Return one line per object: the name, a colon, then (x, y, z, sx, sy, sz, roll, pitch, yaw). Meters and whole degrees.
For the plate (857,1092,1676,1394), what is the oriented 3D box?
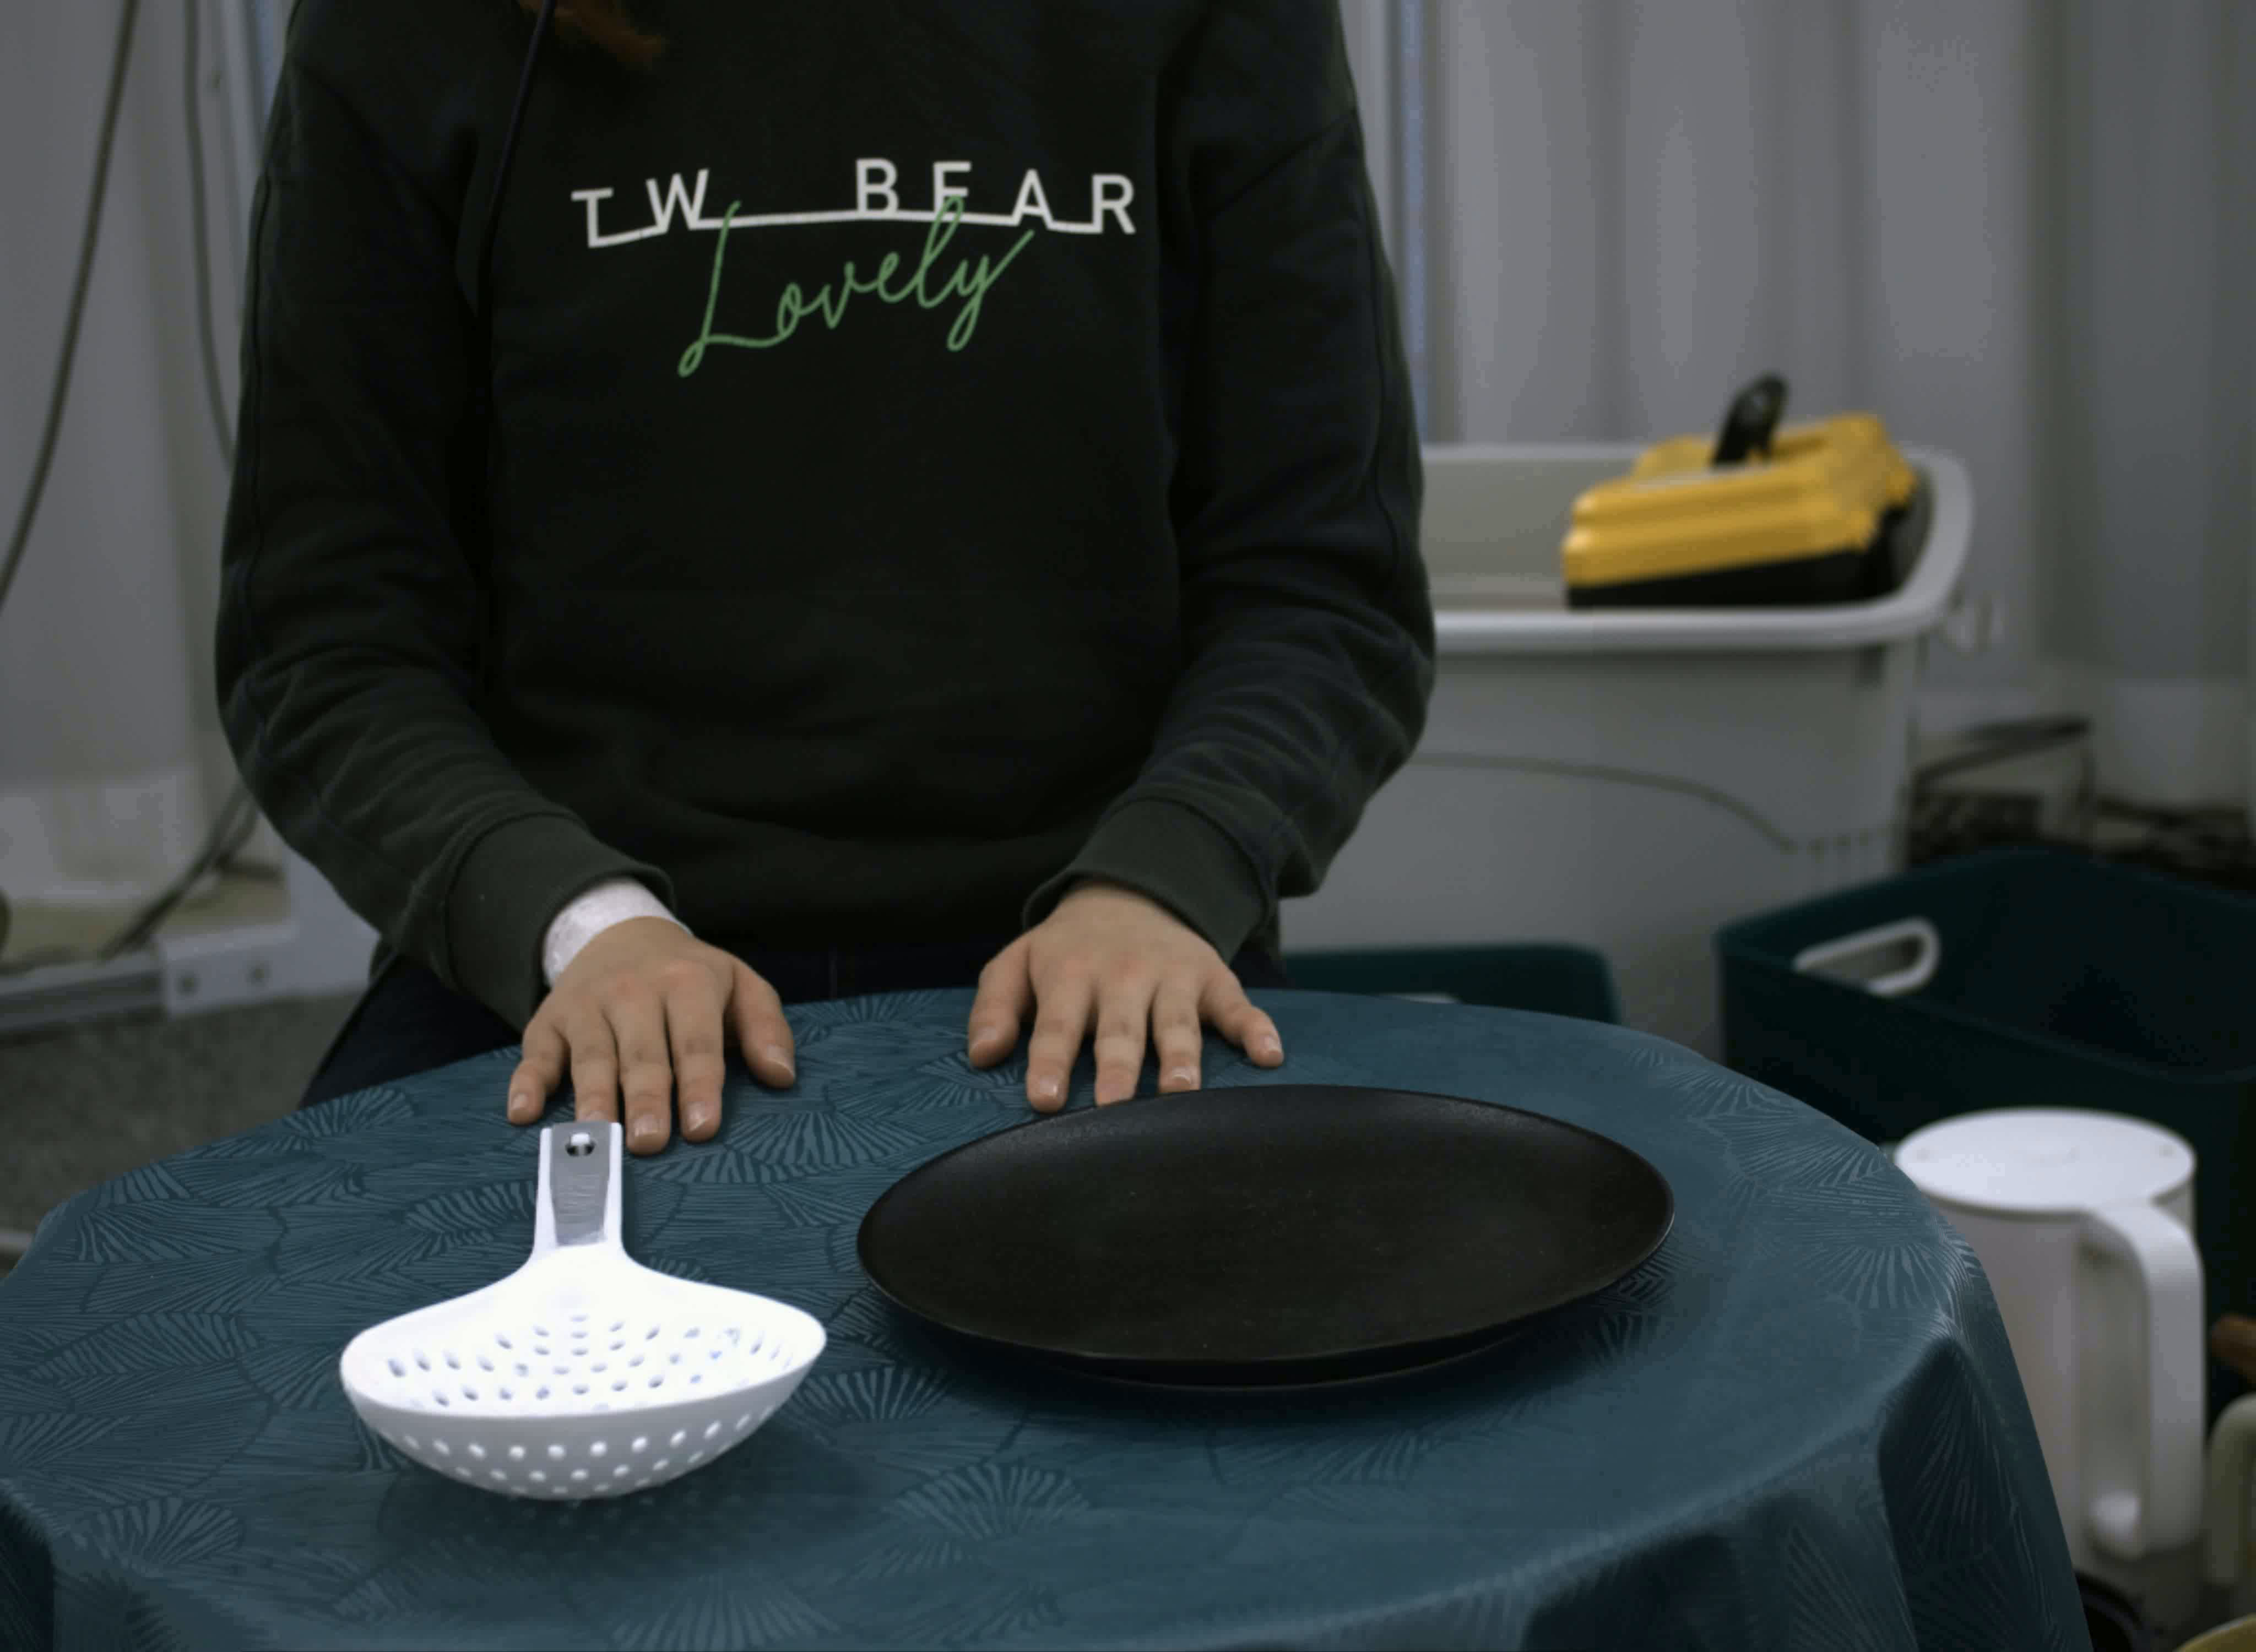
plate: (0.041, 0.125, 1.623, 0.243, 0.023, 0.246, -3, 15, 0)

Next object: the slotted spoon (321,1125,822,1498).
slotted spoon: (-0.160, 0.132, 1.593, 0.135, 0.045, 0.352, -2, 14, -5)
